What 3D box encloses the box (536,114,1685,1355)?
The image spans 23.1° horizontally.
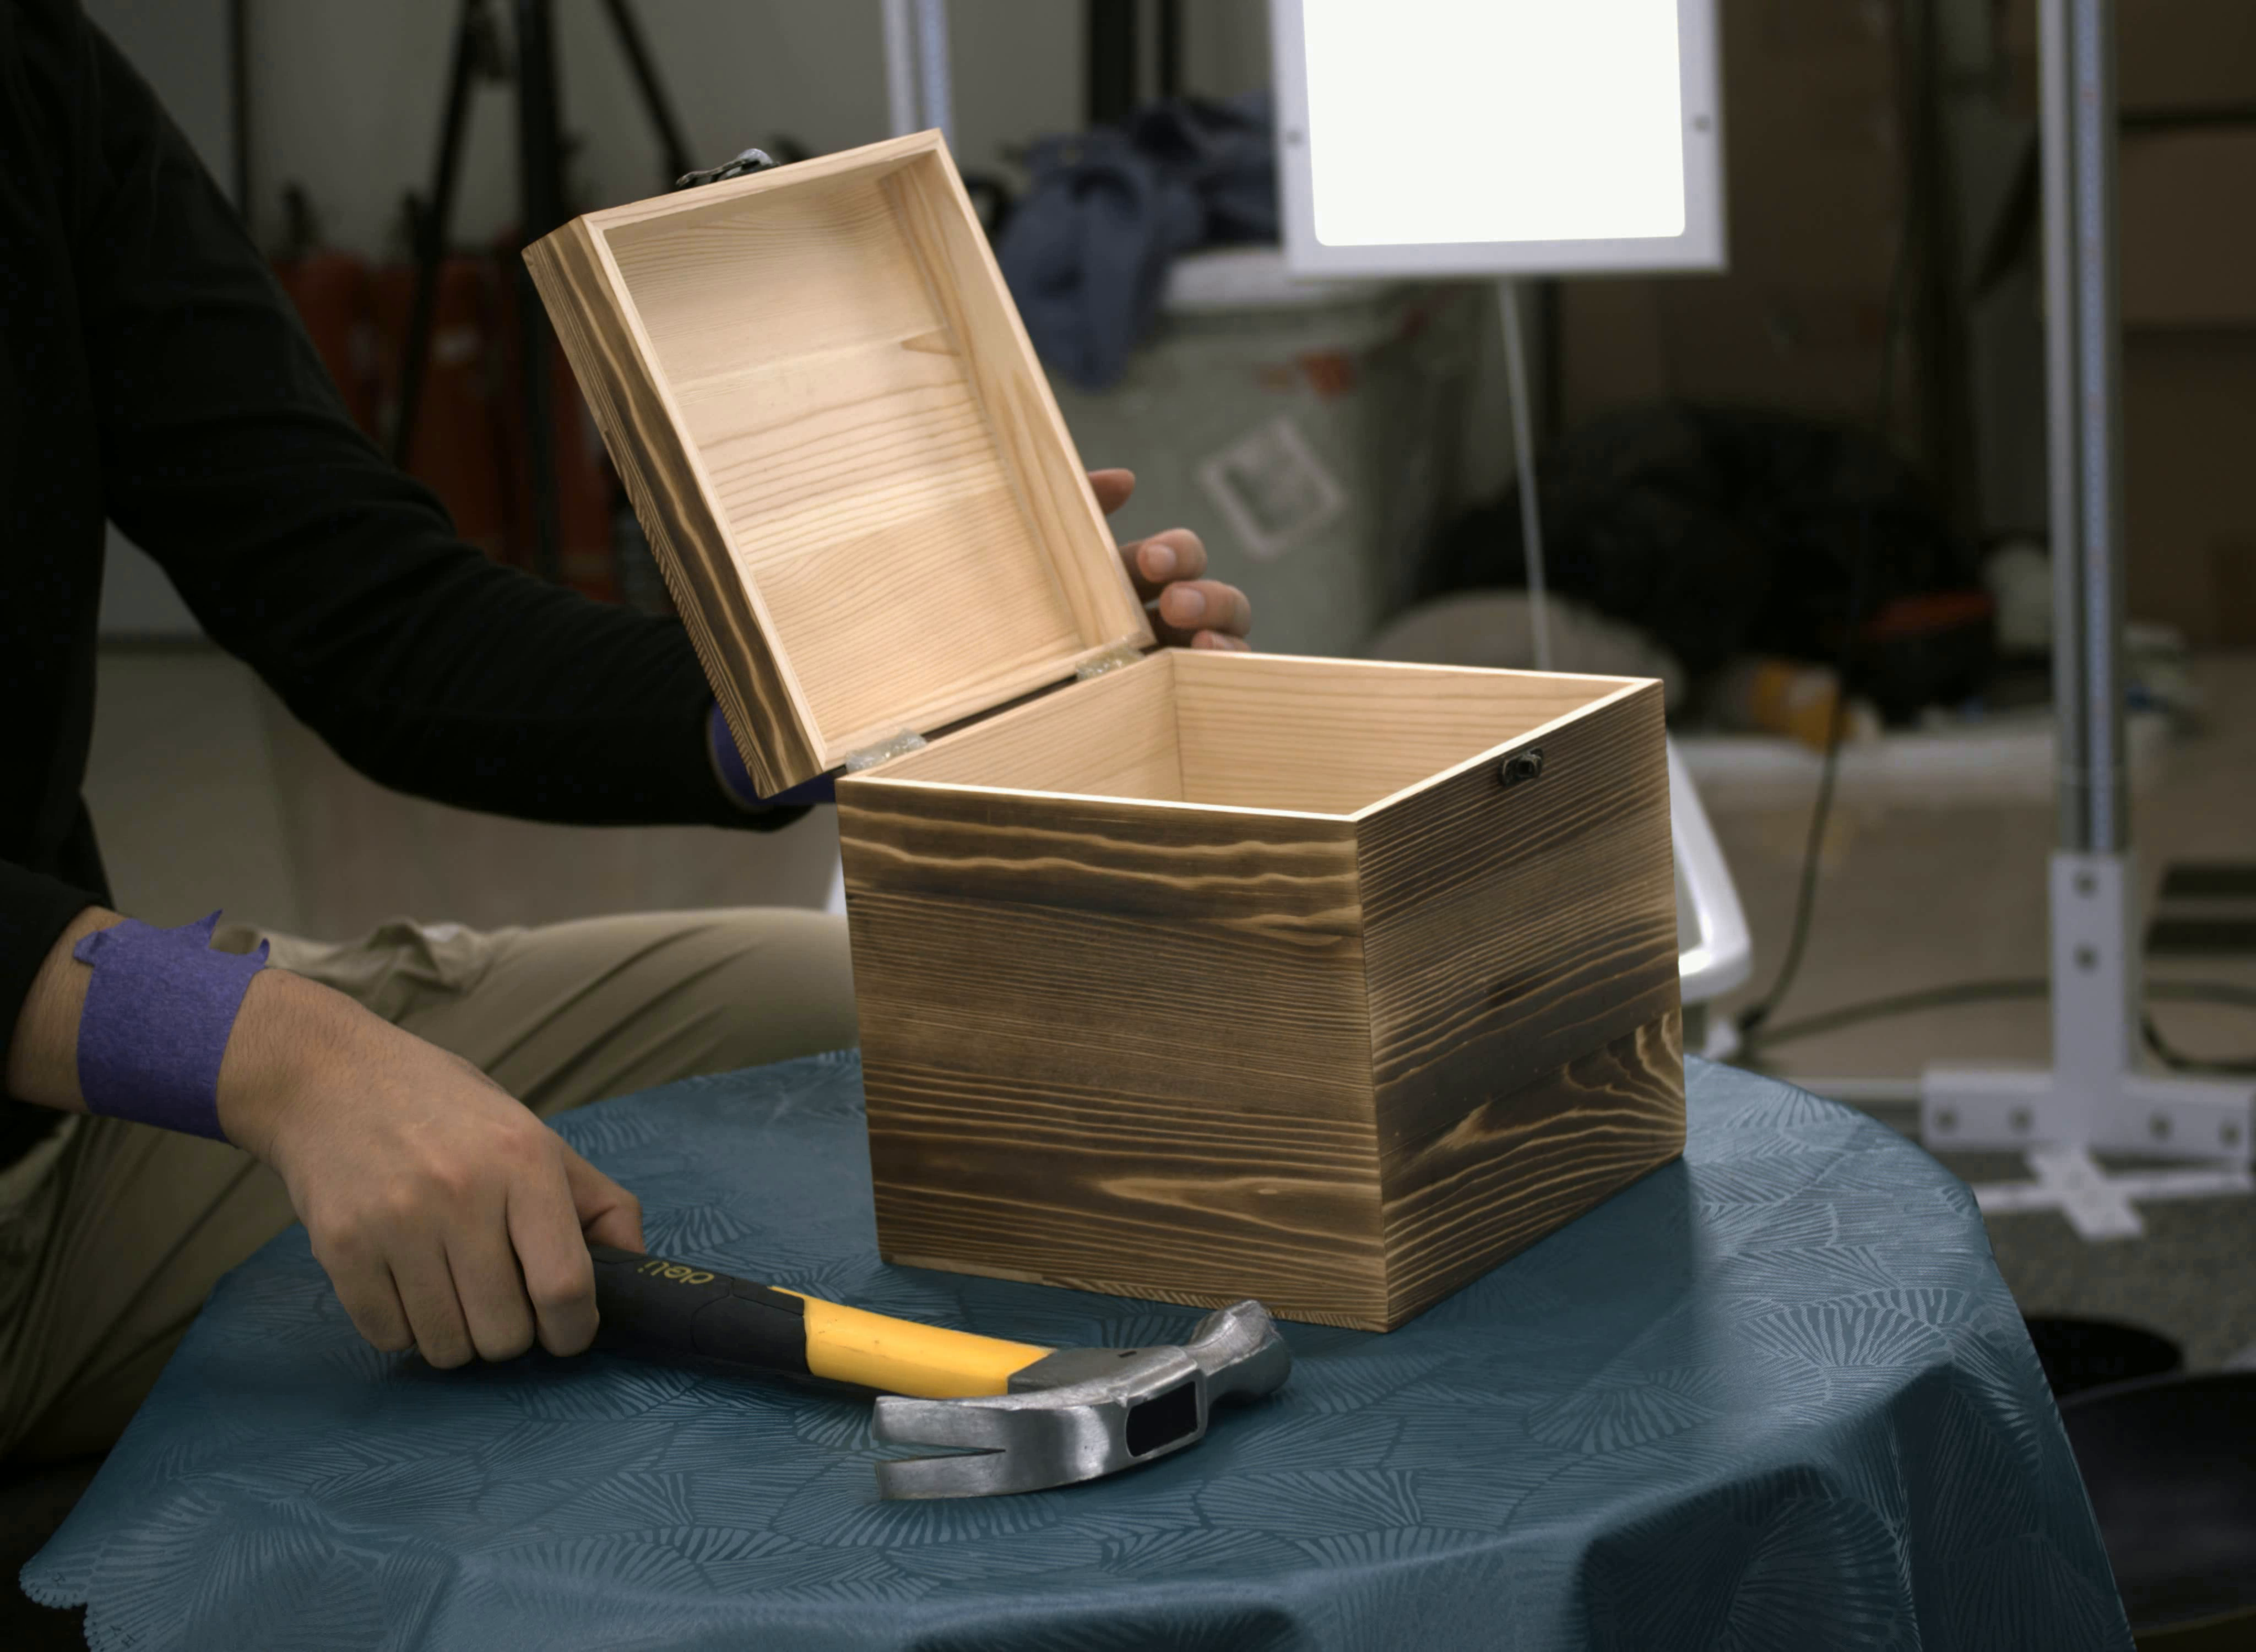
[{"bbox_3d":[-0.003,-0.046,1.852,0.329,0.377,0.204,4,17,35],"label":"box"}]

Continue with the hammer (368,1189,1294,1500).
[{"bbox_3d":[-0.117,0.155,1.746,0.346,0.032,0.128,9,20,41],"label":"hammer"}]
